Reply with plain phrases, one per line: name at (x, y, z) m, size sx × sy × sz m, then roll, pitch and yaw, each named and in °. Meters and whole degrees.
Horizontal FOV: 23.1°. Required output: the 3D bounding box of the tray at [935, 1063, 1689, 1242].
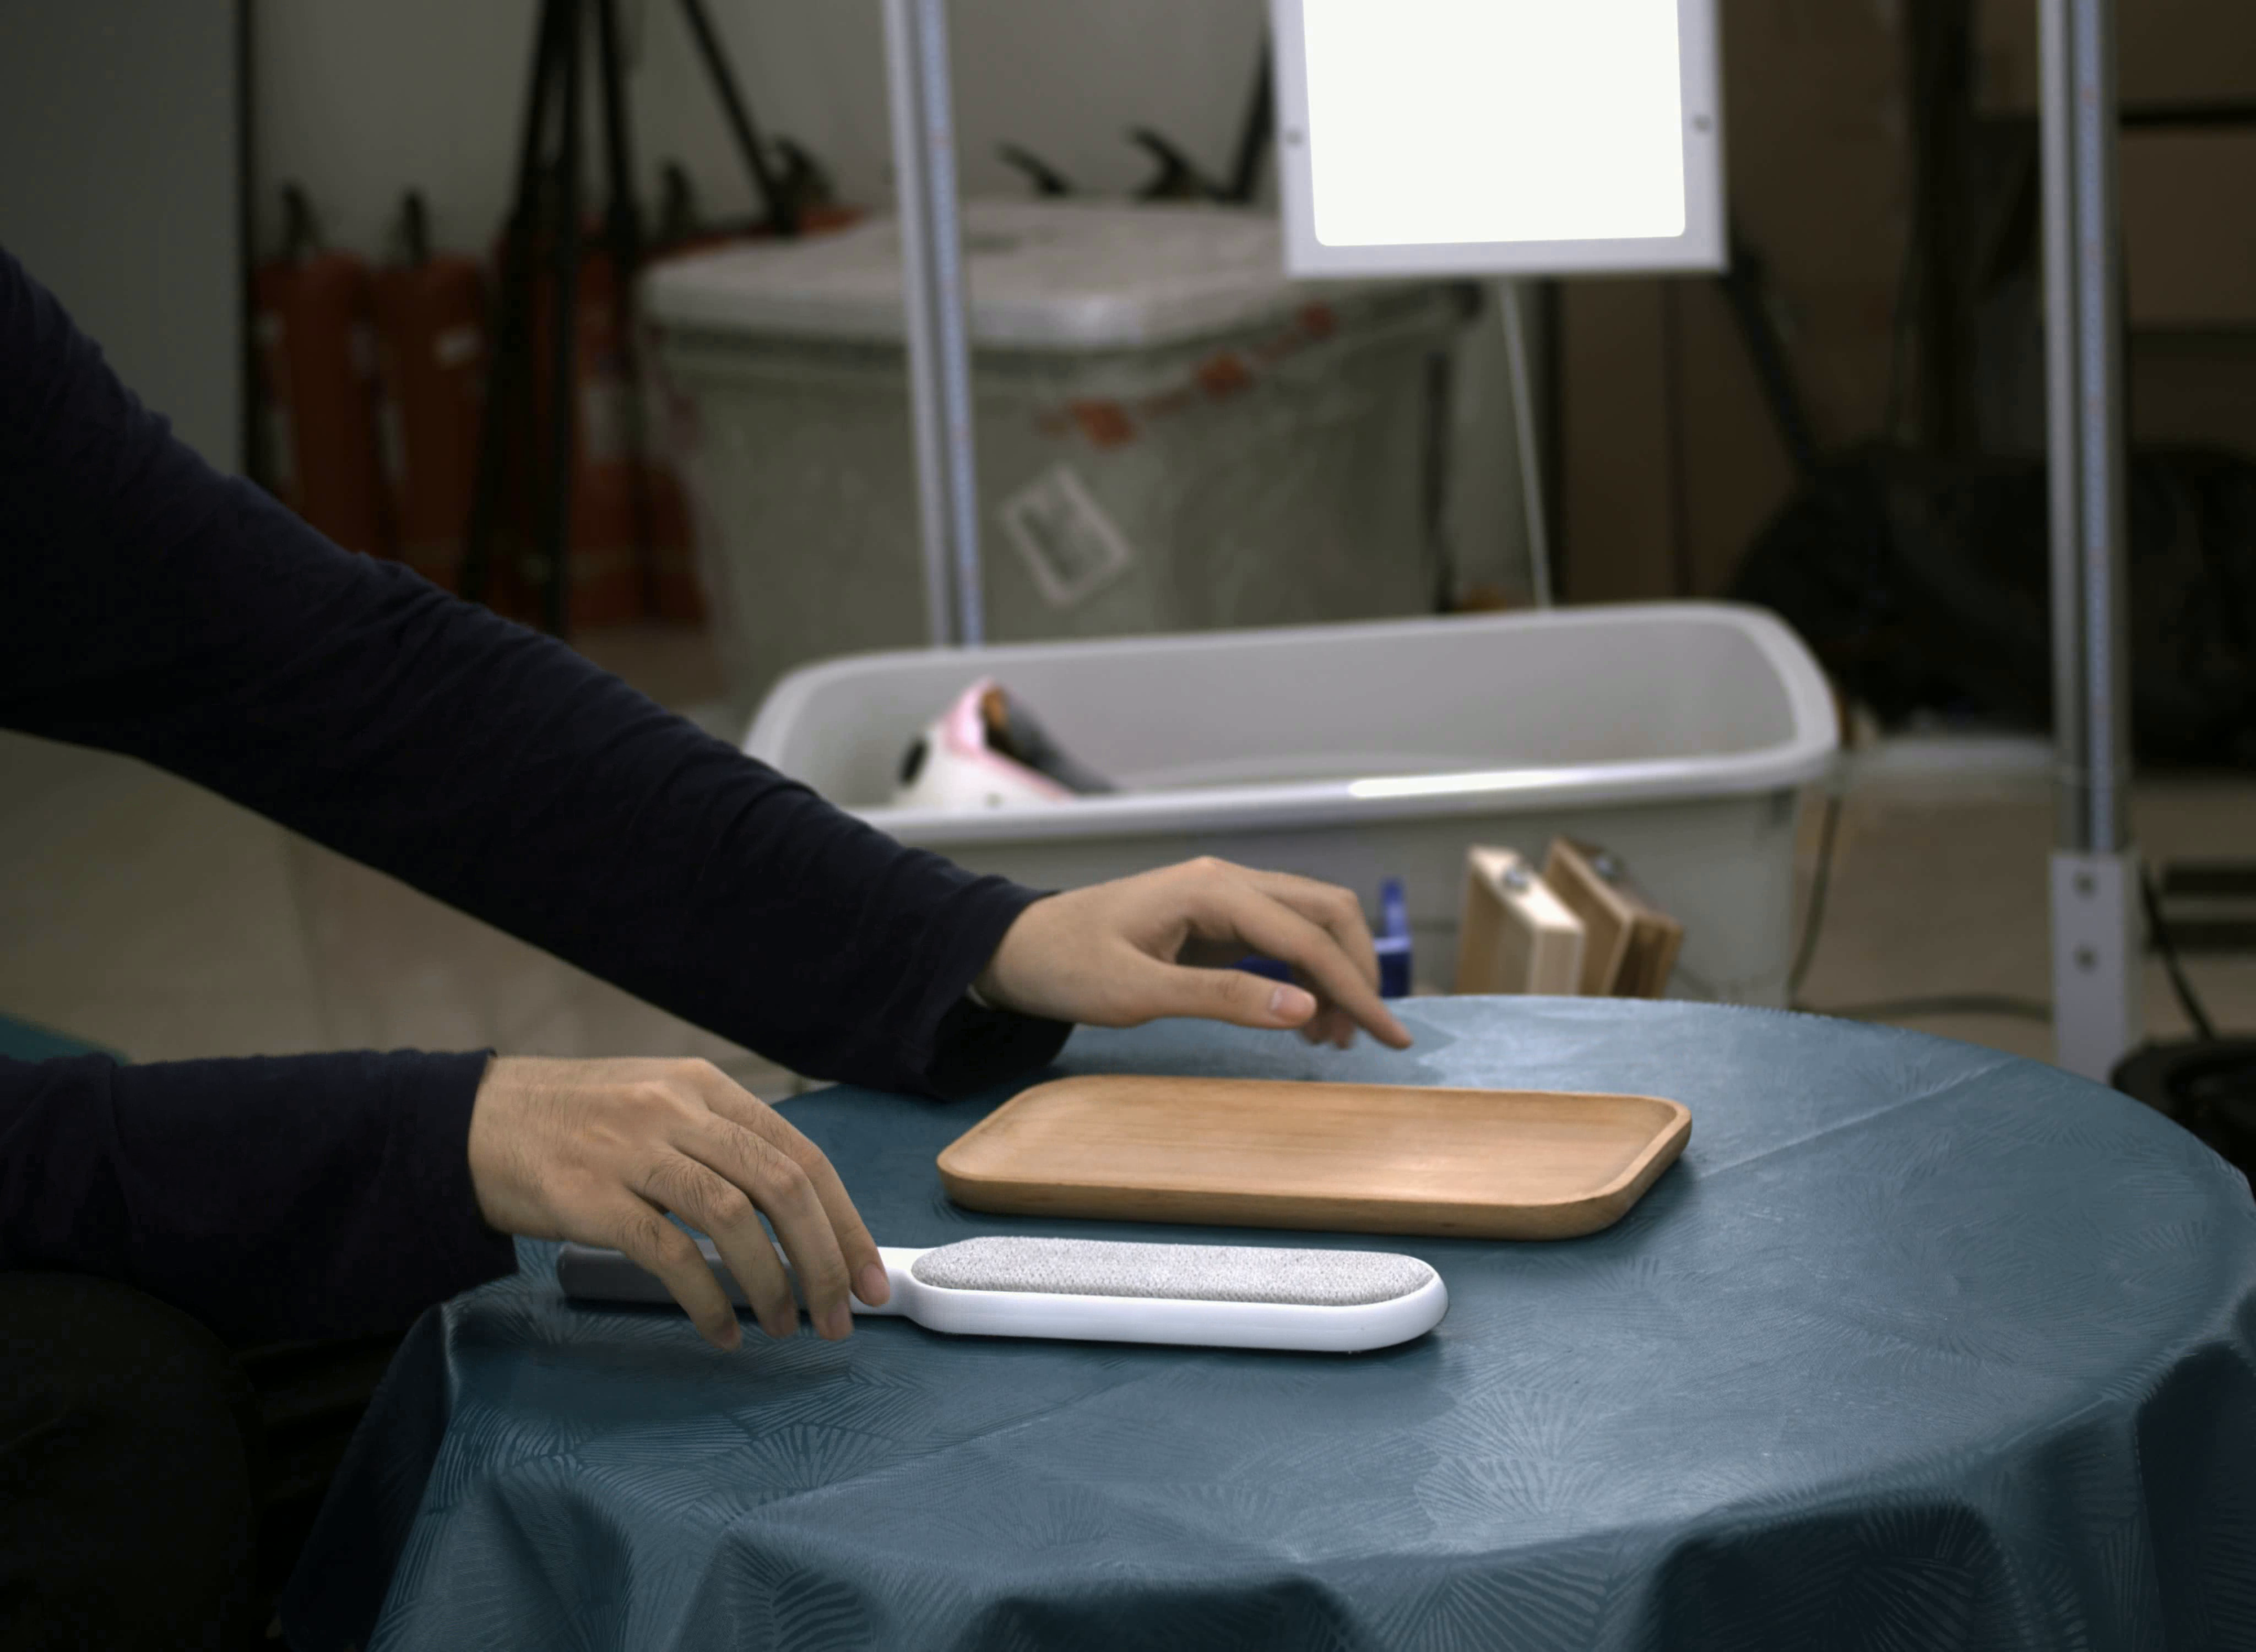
tray at (0.064, 0.112, 1.902) m, size 0.255 × 0.023 × 0.128 m, roll 1°, pitch 13°, yaw 26°

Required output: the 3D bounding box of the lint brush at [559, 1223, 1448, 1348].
lint brush at (-0.045, 0.145, 1.786) m, size 0.313 × 0.021 × 0.059 m, roll 1°, pitch 20°, yaw 24°
